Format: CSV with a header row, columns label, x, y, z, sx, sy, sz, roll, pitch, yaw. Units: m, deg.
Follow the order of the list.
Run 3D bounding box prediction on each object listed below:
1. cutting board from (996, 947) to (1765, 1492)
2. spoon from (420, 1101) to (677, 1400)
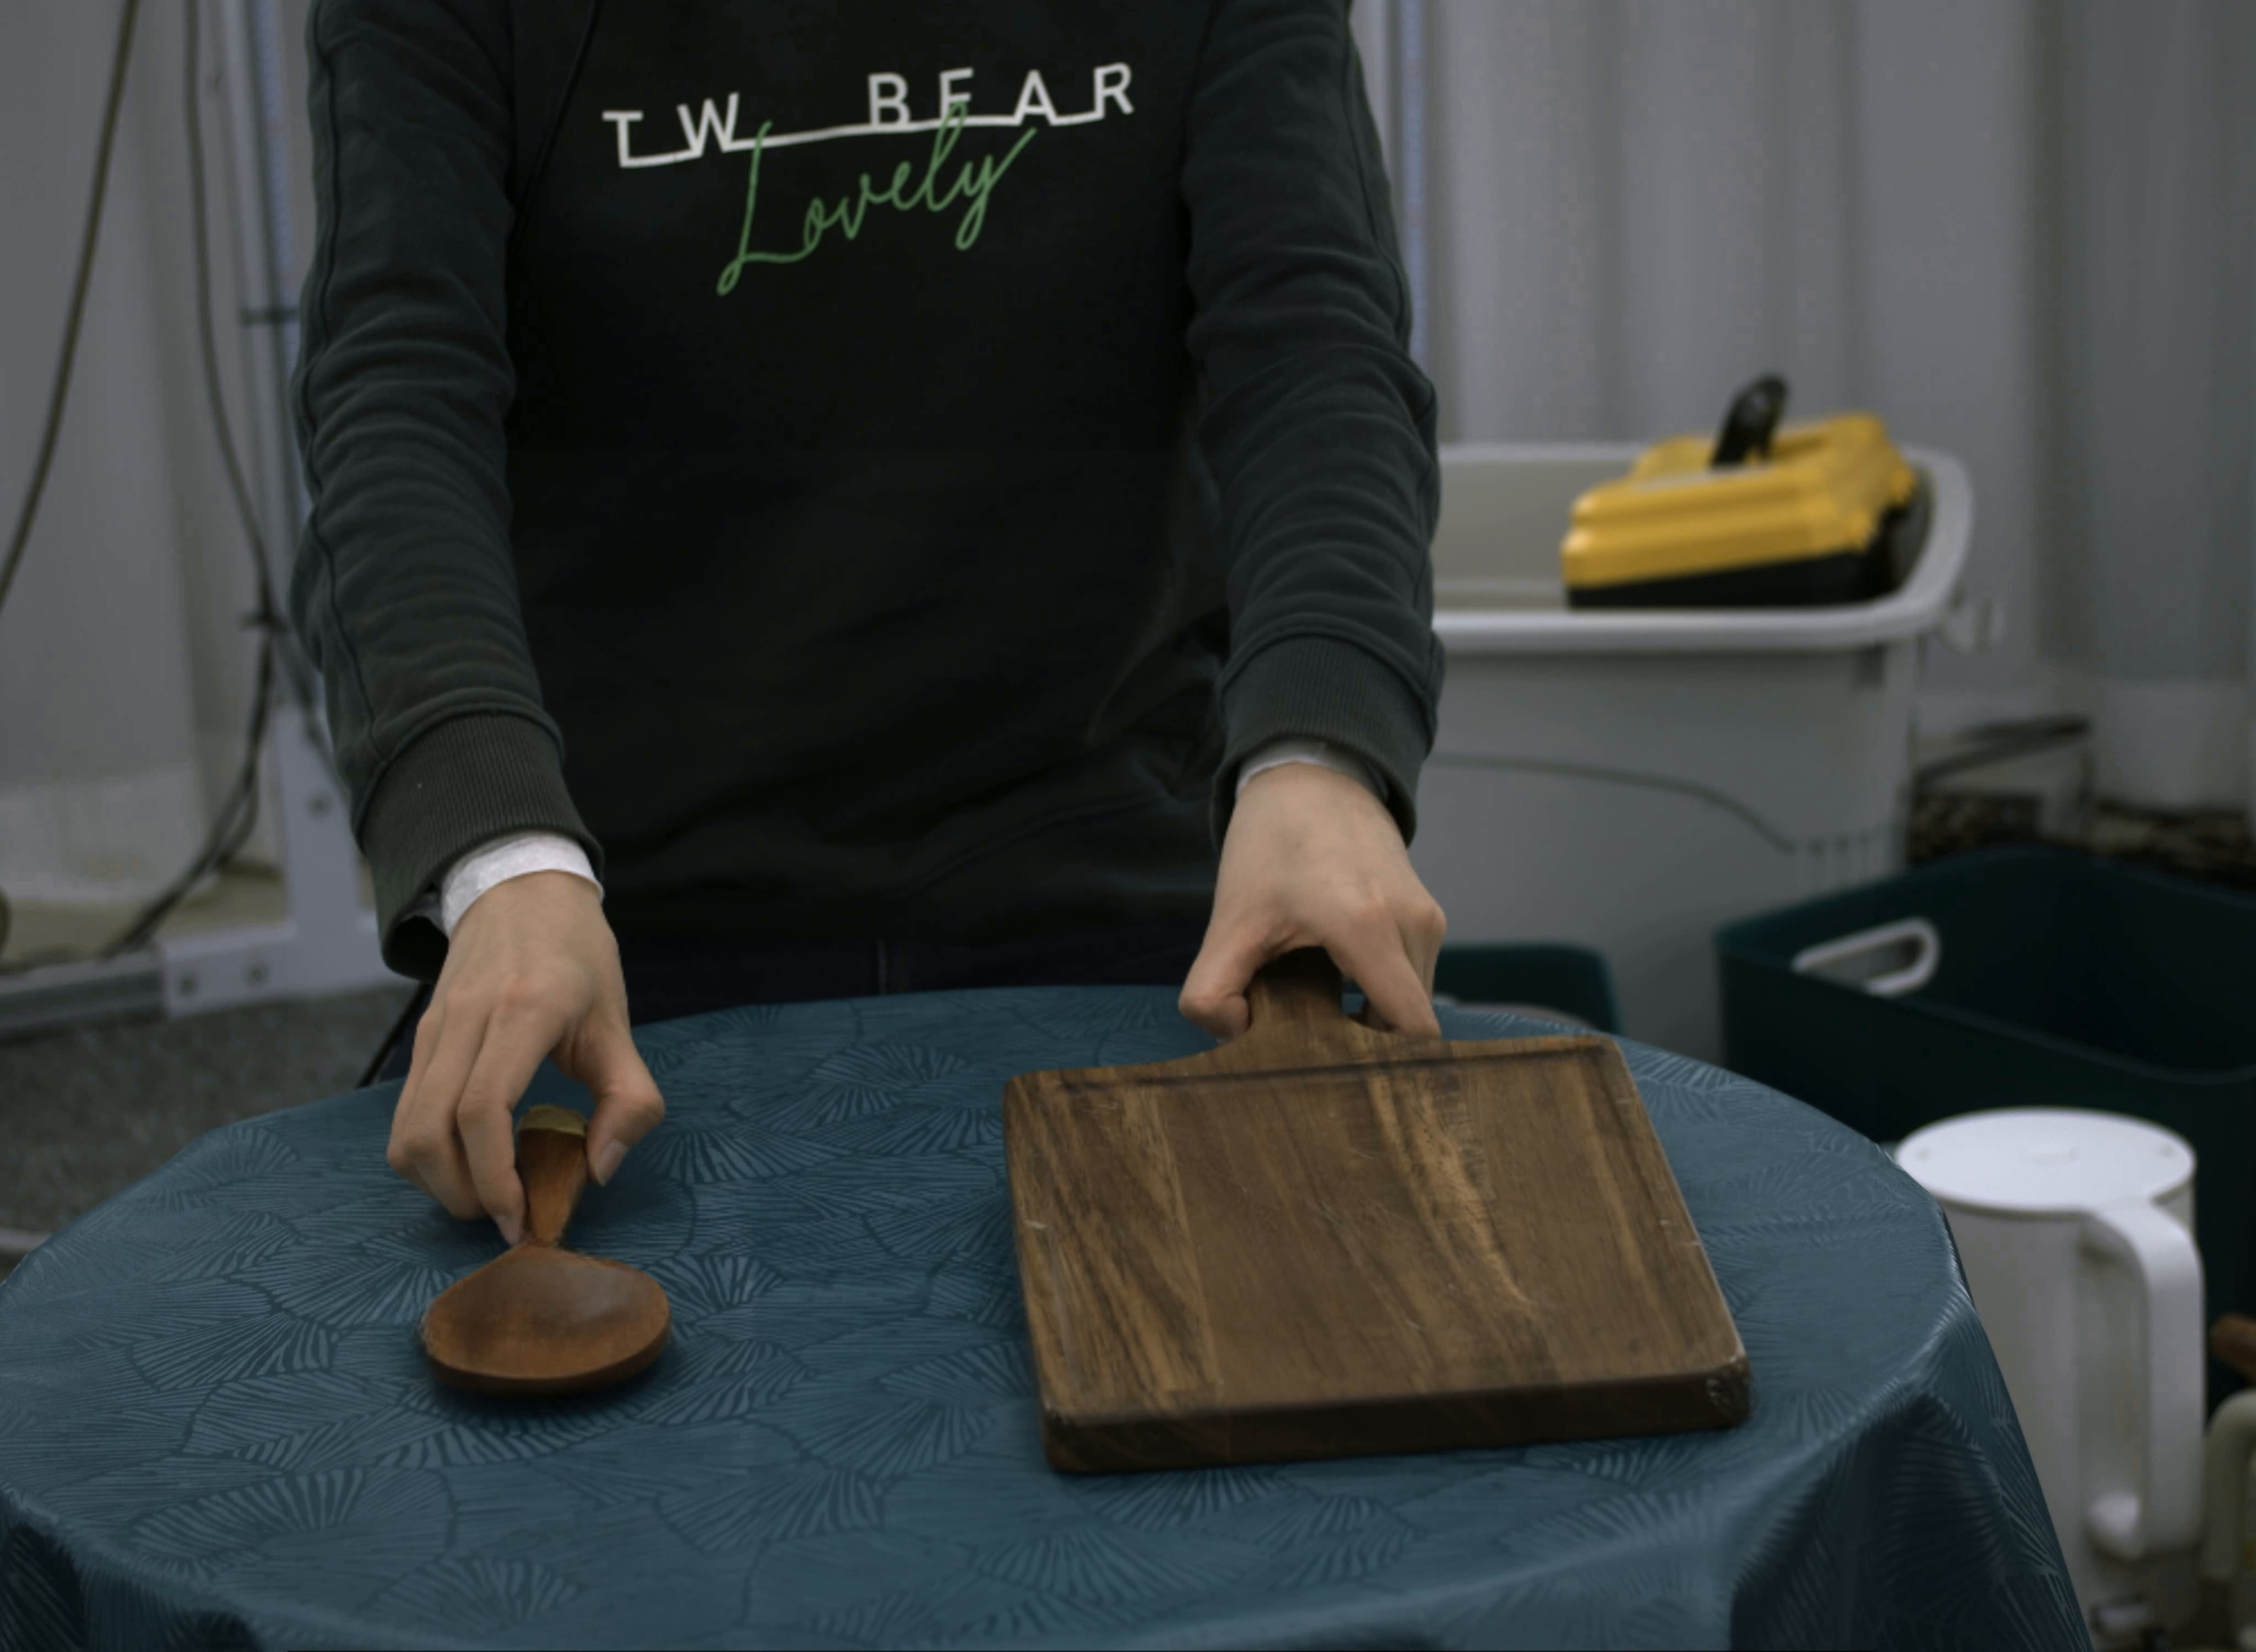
label,x,y,z,sx,sy,sz,roll,pitch,yaw
cutting board,0.063,0.107,1.648,0.200,0.023,0.355,-5,19,-3
spoon,-0.173,0.128,1.645,0.075,0.017,0.218,-6,19,-3
